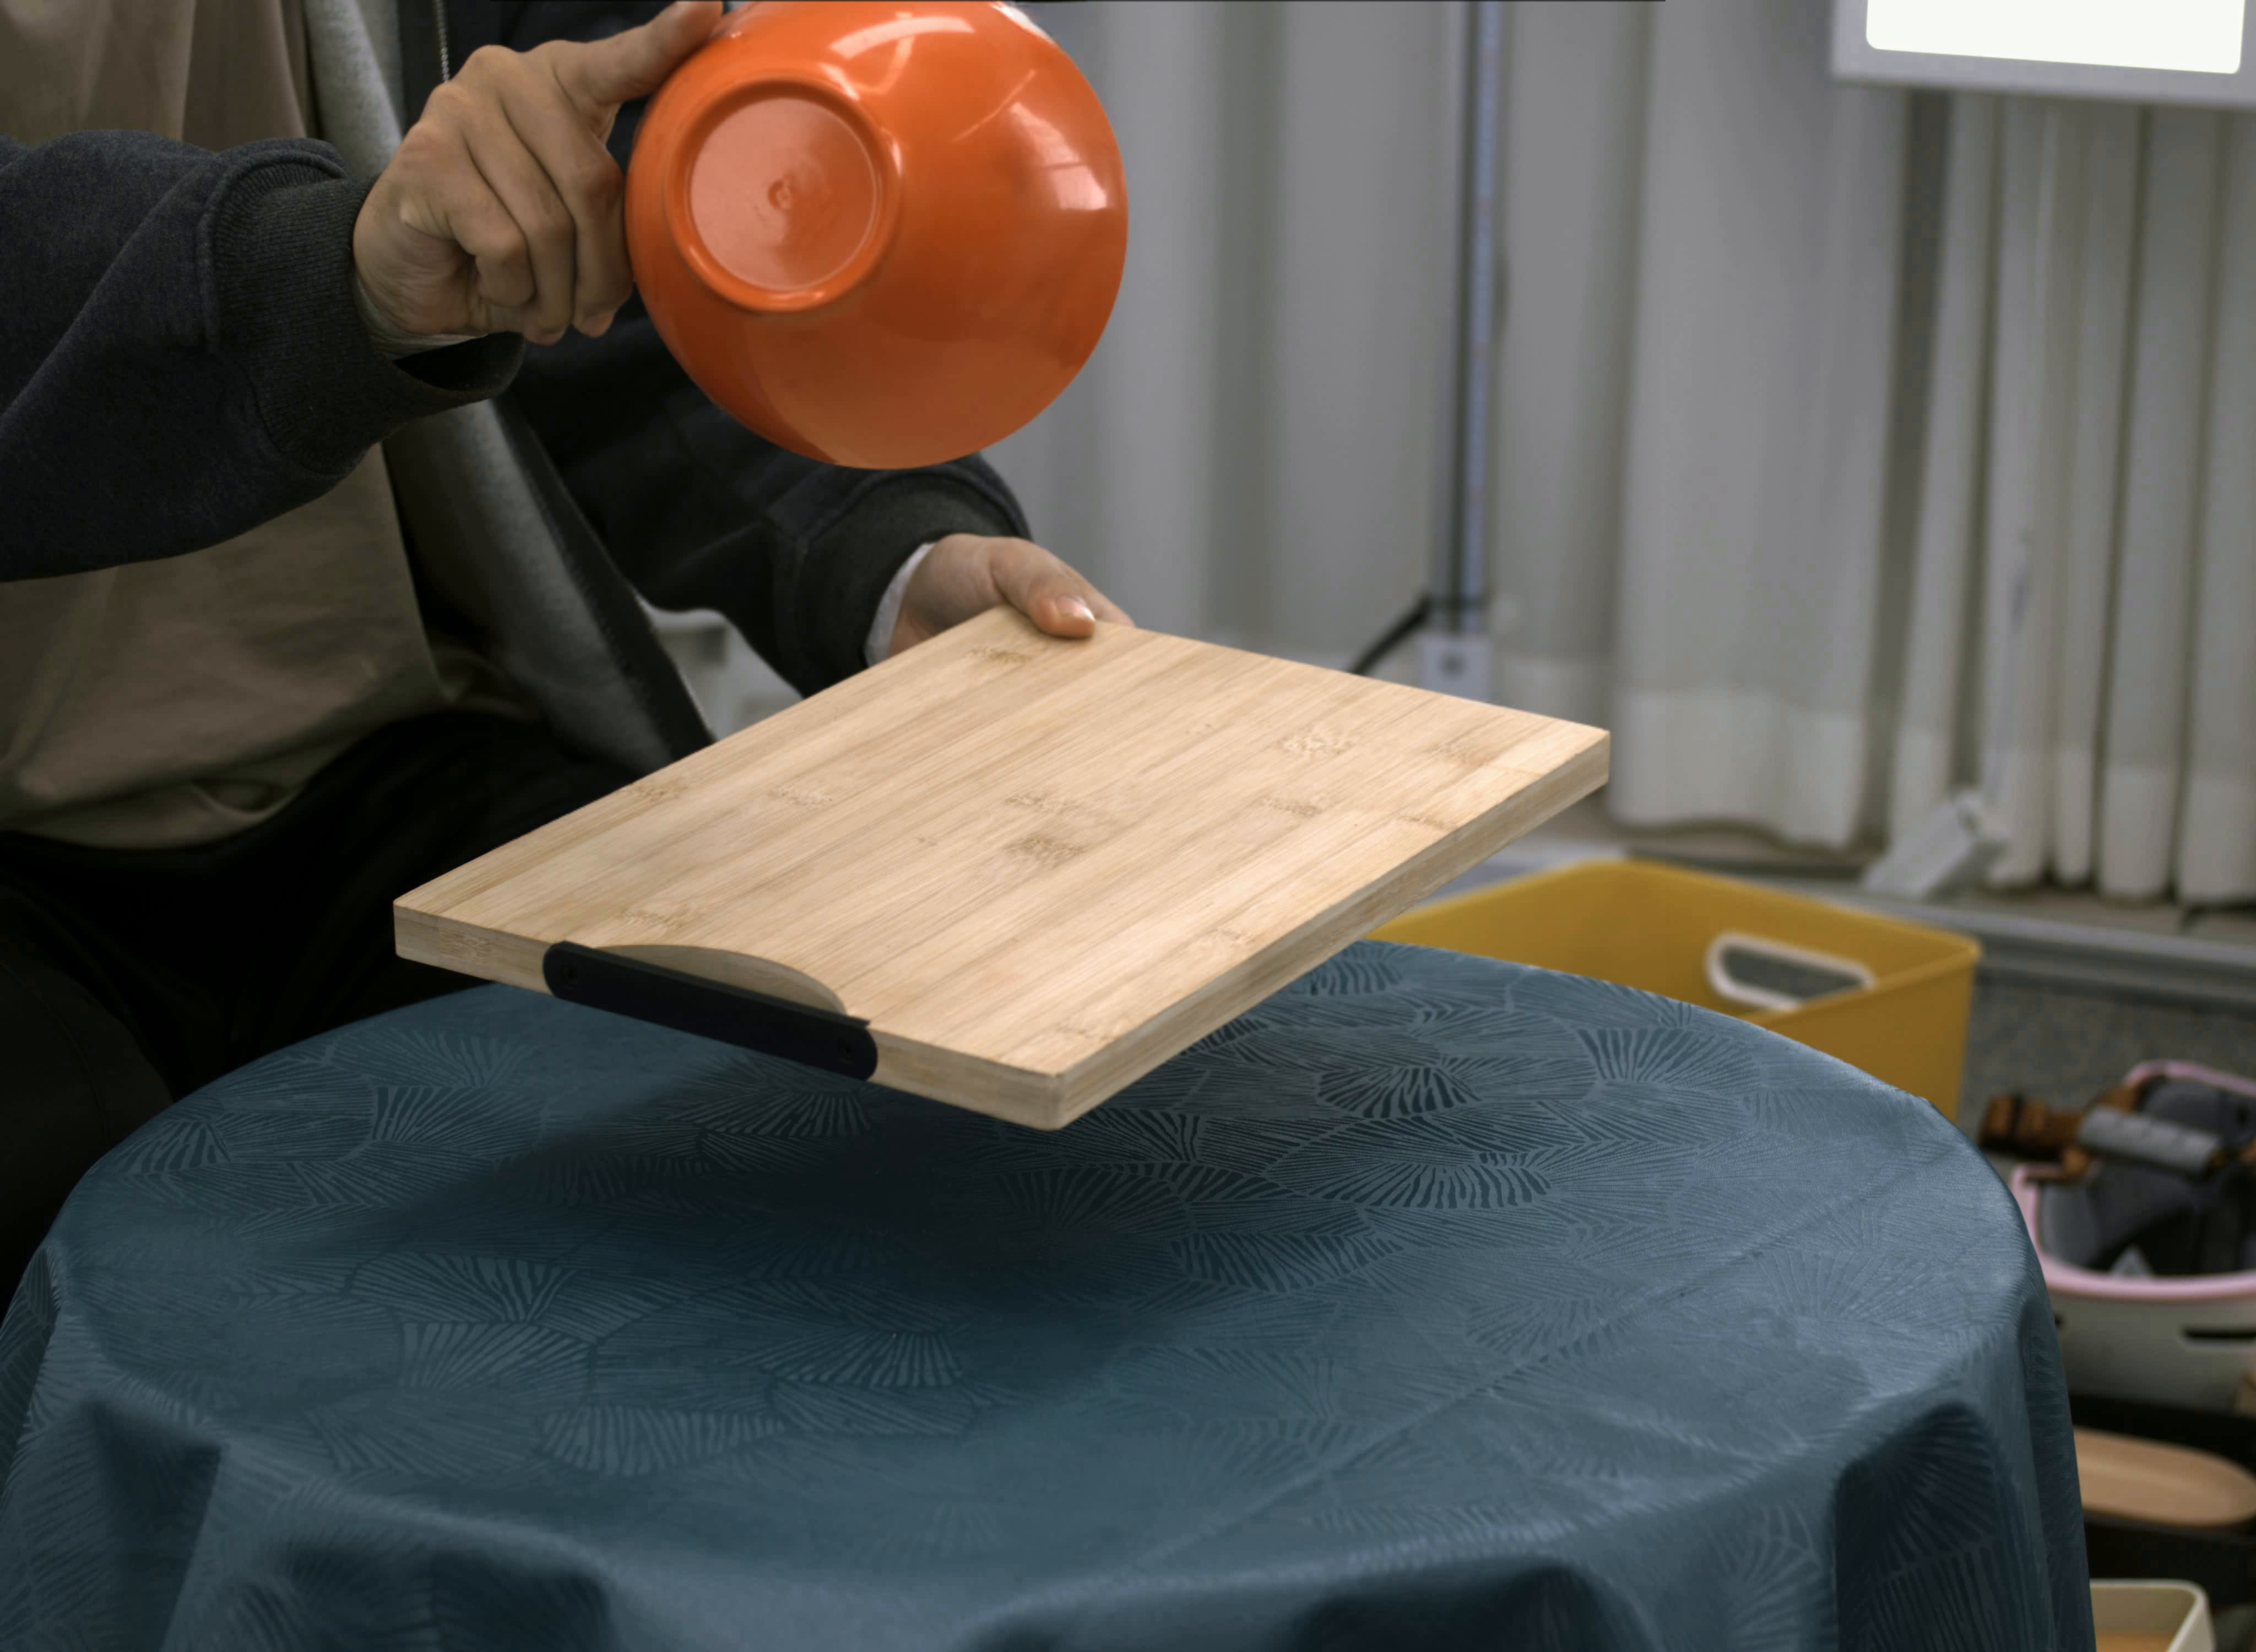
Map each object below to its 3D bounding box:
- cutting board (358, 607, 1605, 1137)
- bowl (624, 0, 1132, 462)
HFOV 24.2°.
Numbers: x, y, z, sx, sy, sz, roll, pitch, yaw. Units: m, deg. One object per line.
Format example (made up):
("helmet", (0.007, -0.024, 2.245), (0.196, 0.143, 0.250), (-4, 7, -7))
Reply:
("cutting board", (-0.035, 0.006, 1.650), (0.248, 0.024, 0.349), (13, 23, 29))
("bowl", (-0.080, -0.176, 1.498), (0.147, 0.149, 0.104), (4, 8, 10))
